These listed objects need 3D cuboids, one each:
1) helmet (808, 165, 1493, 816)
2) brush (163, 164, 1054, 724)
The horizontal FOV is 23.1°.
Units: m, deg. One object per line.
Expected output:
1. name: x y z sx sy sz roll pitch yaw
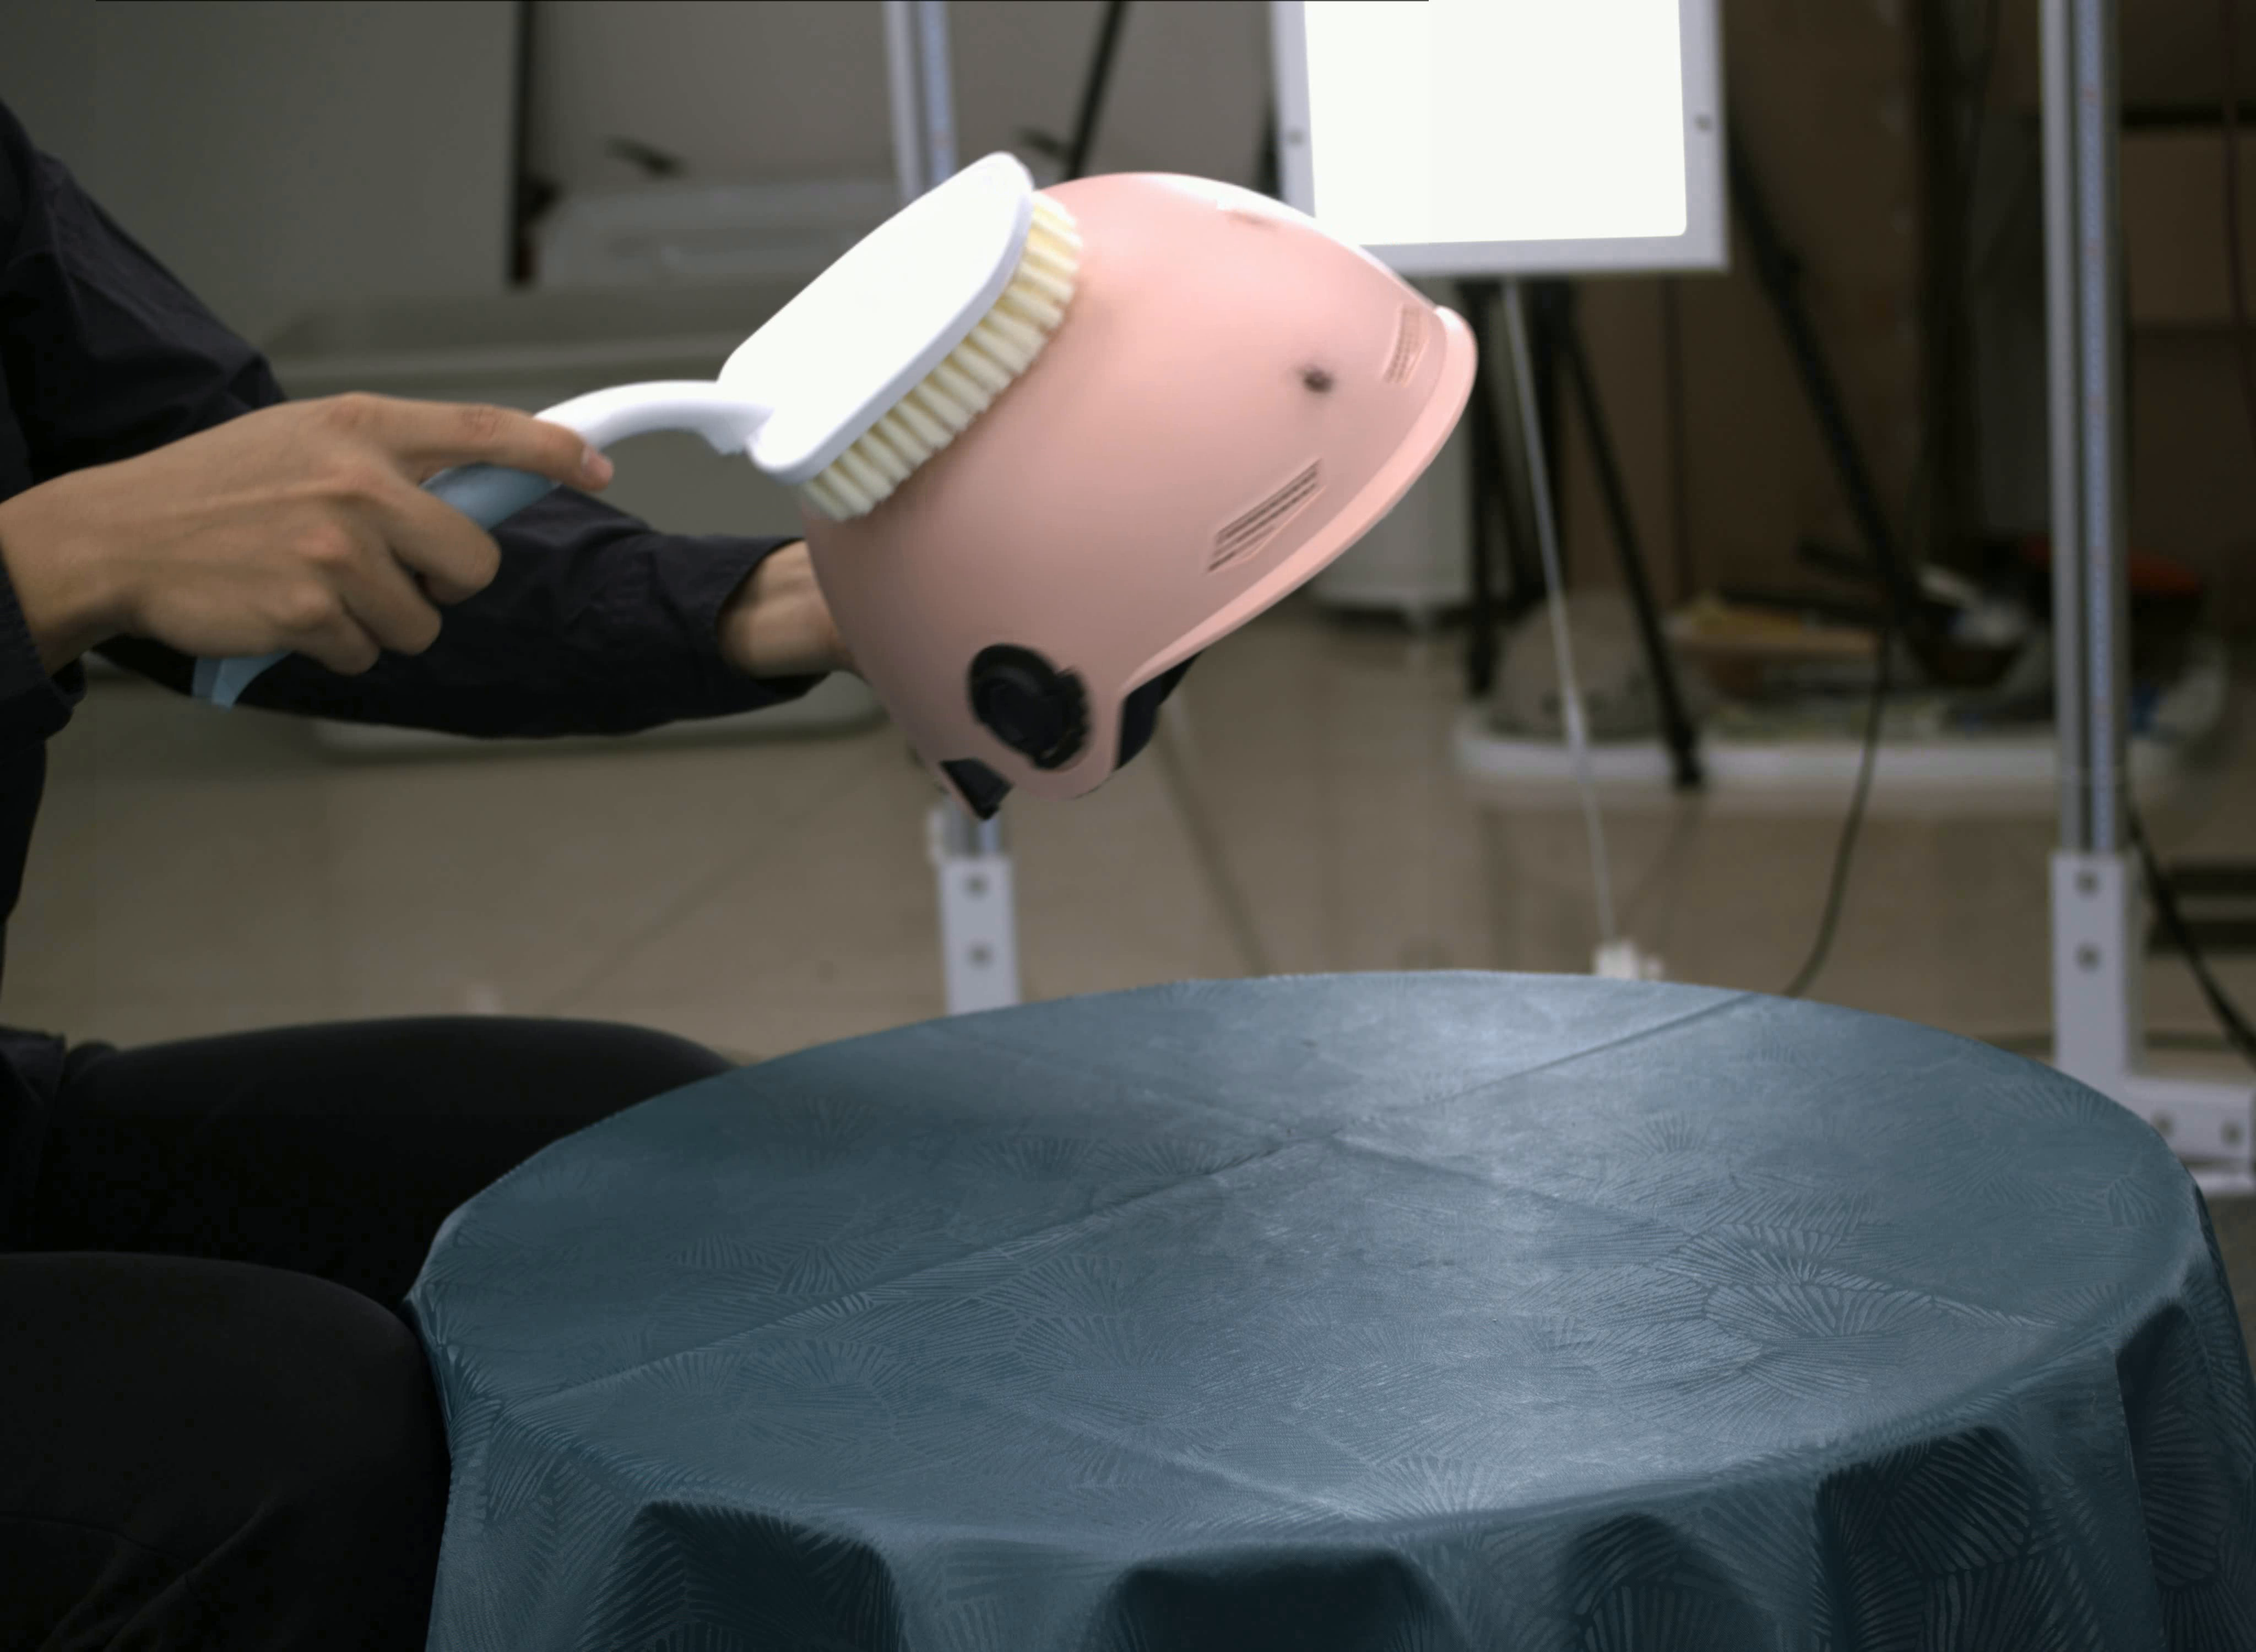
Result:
1. helmet: -0.010 -0.136 1.877 0.230 0.158 0.271 -51 16 -29
2. brush: -0.165 -0.109 1.805 0.325 0.084 0.083 -32 10 1
